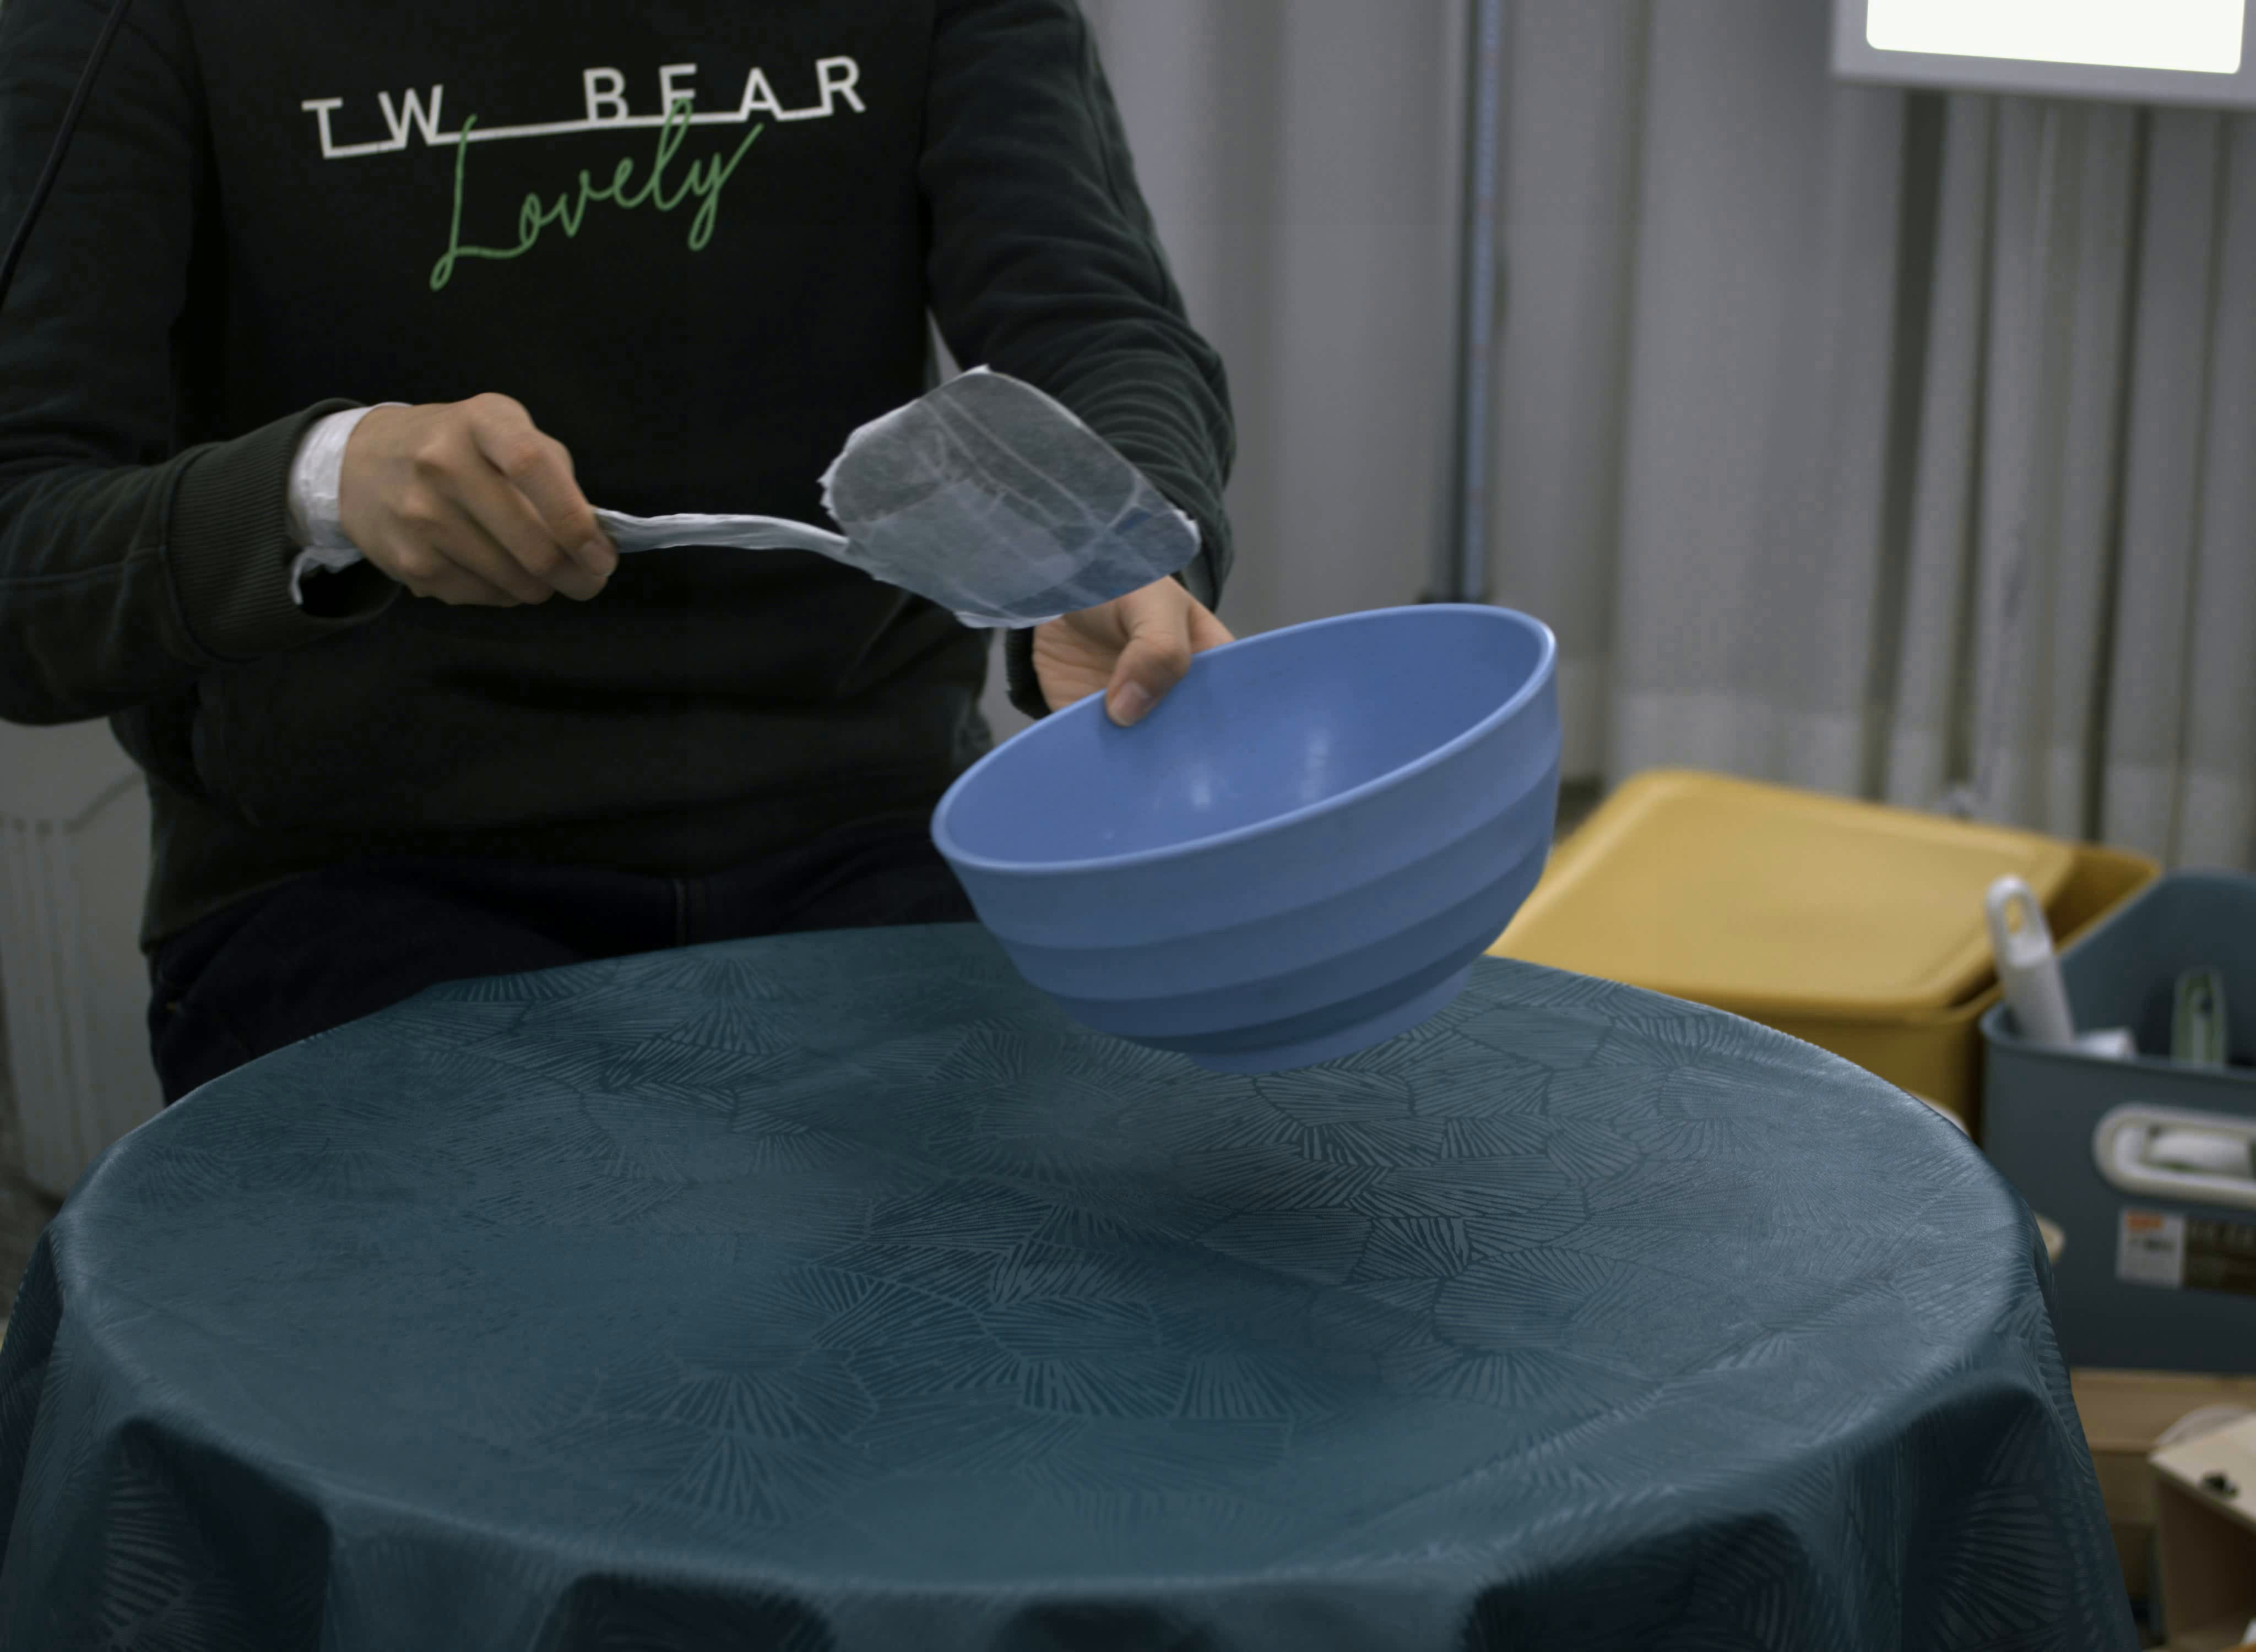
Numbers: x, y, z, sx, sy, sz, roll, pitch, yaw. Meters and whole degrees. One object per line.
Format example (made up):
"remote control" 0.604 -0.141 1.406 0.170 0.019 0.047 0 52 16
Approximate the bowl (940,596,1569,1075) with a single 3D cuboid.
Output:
"bowl" 0.050 0.013 1.594 0.195 0.096 0.195 -16 19 6

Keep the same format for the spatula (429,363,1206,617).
"spatula" -0.119 -0.093 1.632 0.100 0.045 0.361 36 -20 -33
